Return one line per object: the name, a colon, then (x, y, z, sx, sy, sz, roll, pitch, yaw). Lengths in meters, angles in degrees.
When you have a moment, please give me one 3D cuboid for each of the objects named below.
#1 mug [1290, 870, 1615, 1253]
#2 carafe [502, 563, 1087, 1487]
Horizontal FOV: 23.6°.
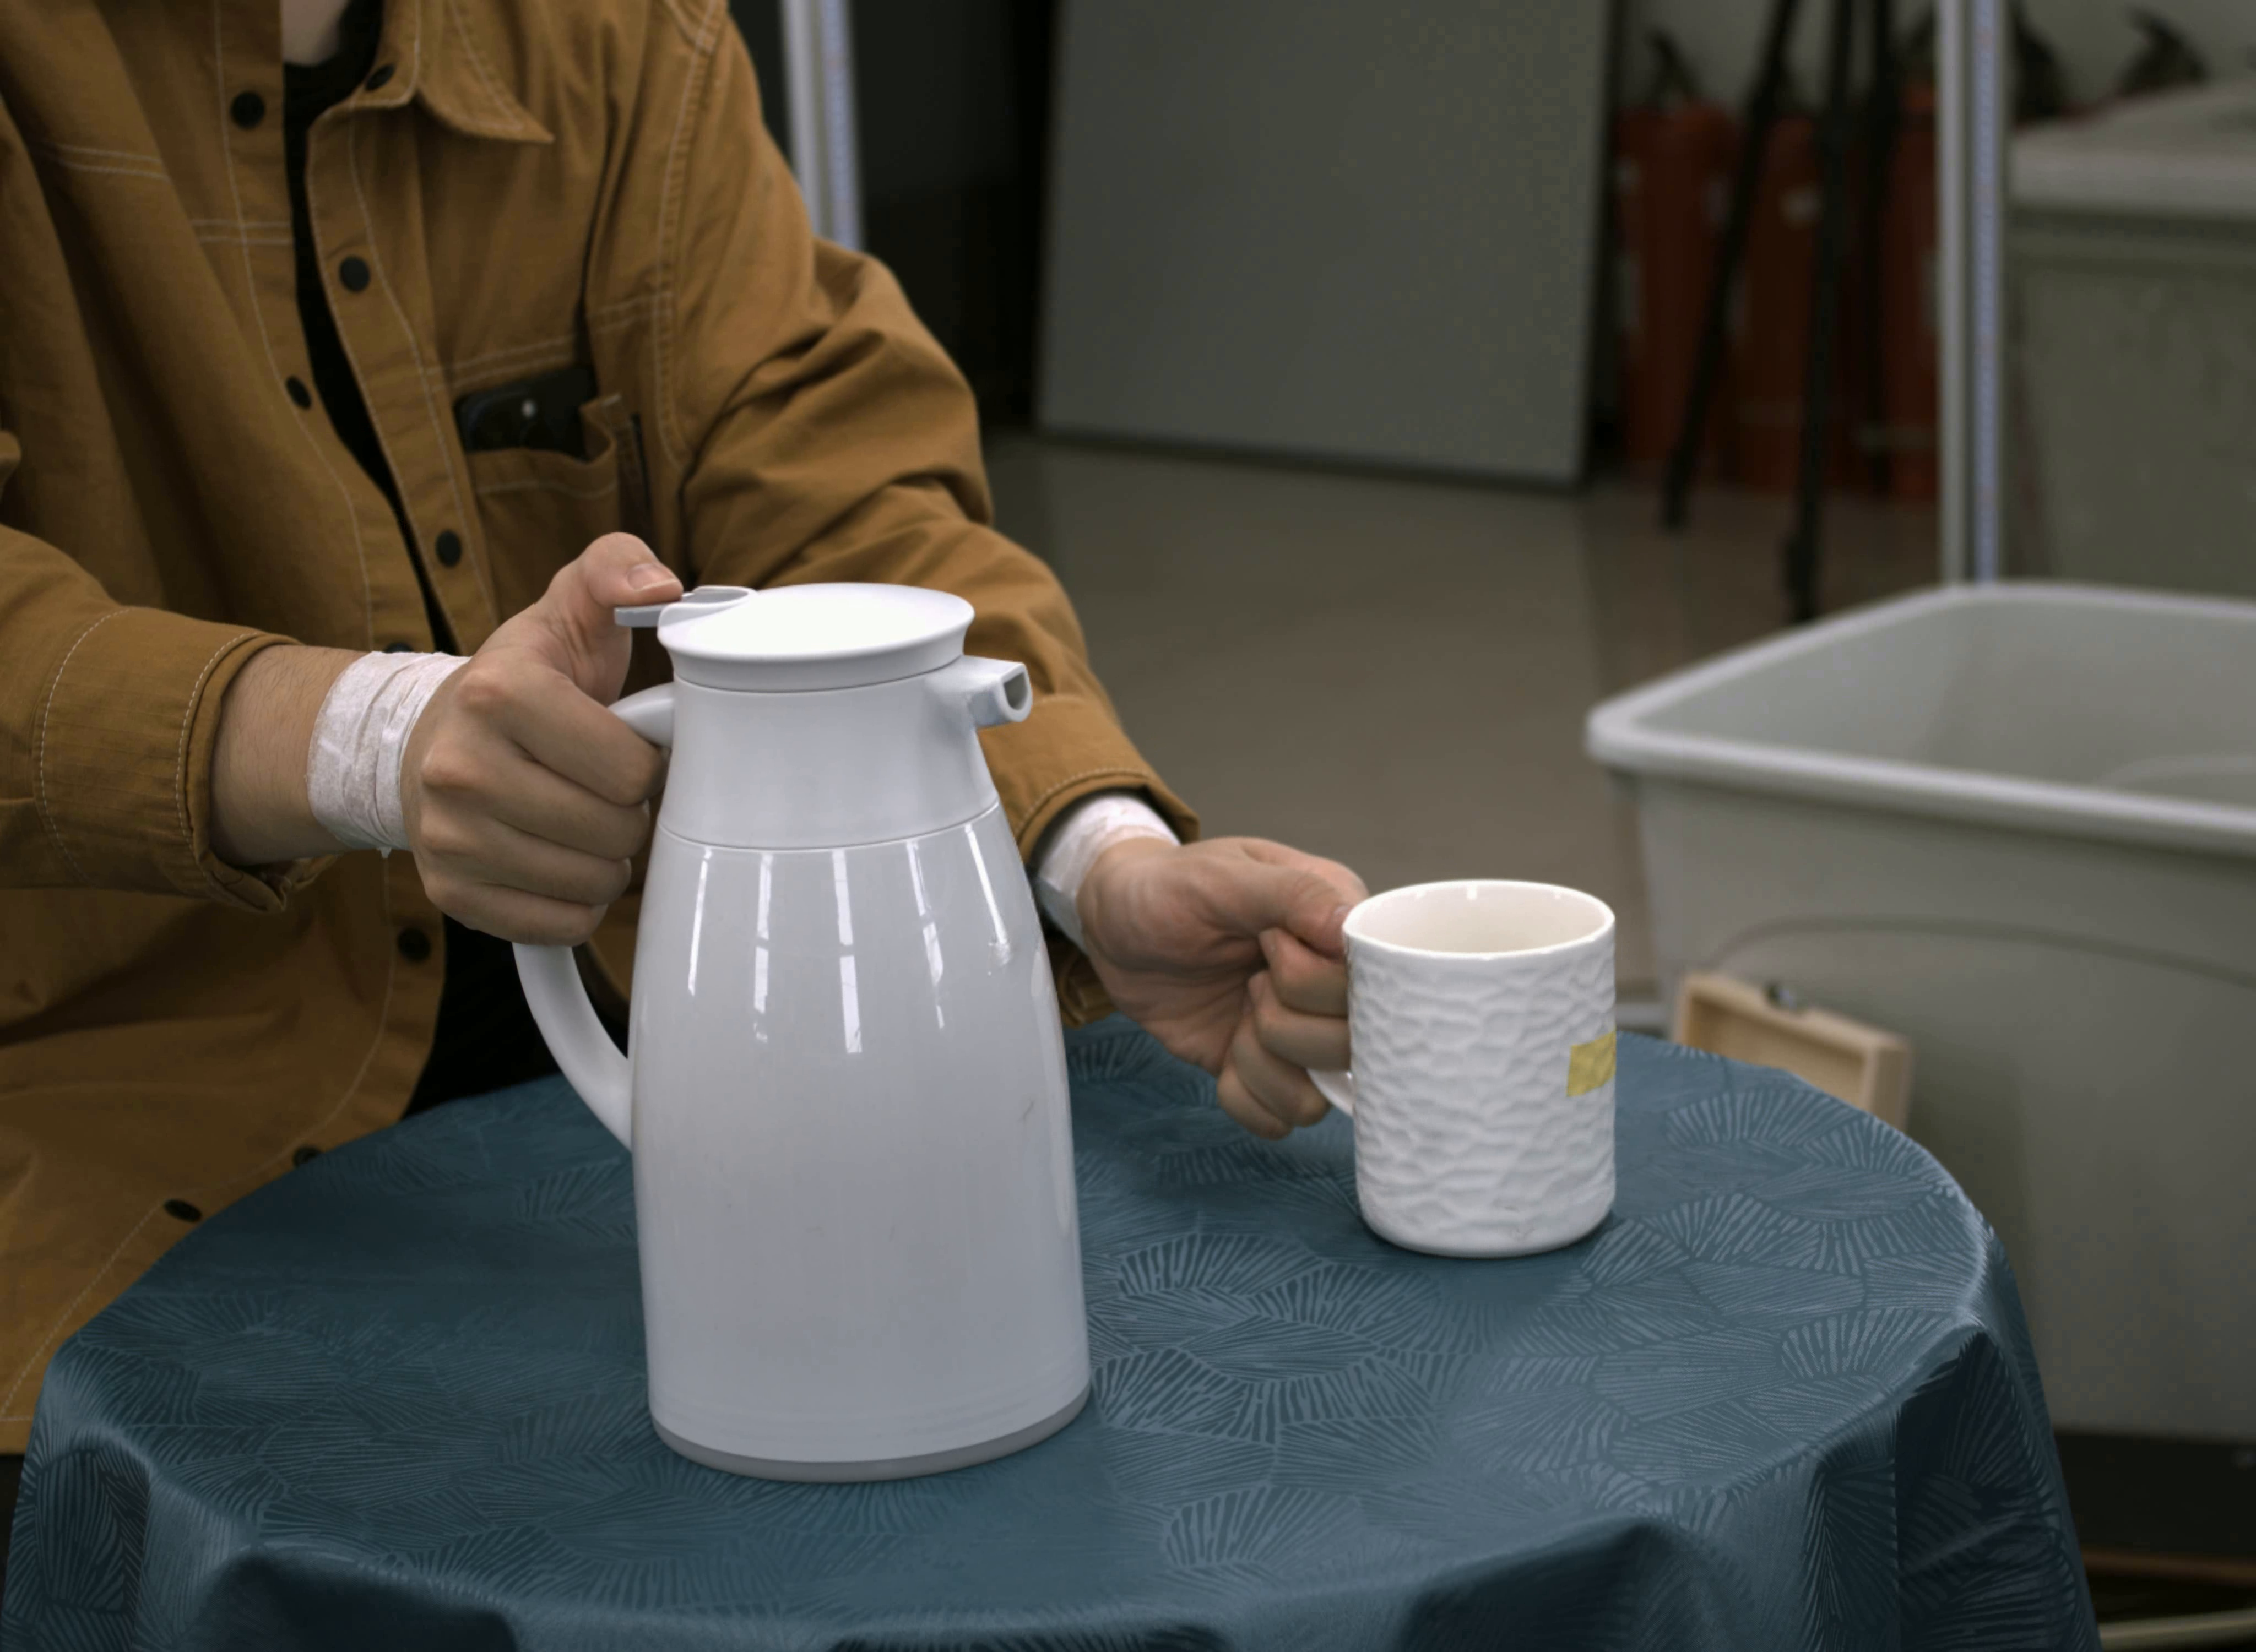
mug: (0.100, 0.072, 1.717, 0.119, 0.103, 0.083, 10, 19, 41)
carafe: (-0.102, 0.050, 1.571, 0.167, 0.251, 0.131, 1, 15, 22)
